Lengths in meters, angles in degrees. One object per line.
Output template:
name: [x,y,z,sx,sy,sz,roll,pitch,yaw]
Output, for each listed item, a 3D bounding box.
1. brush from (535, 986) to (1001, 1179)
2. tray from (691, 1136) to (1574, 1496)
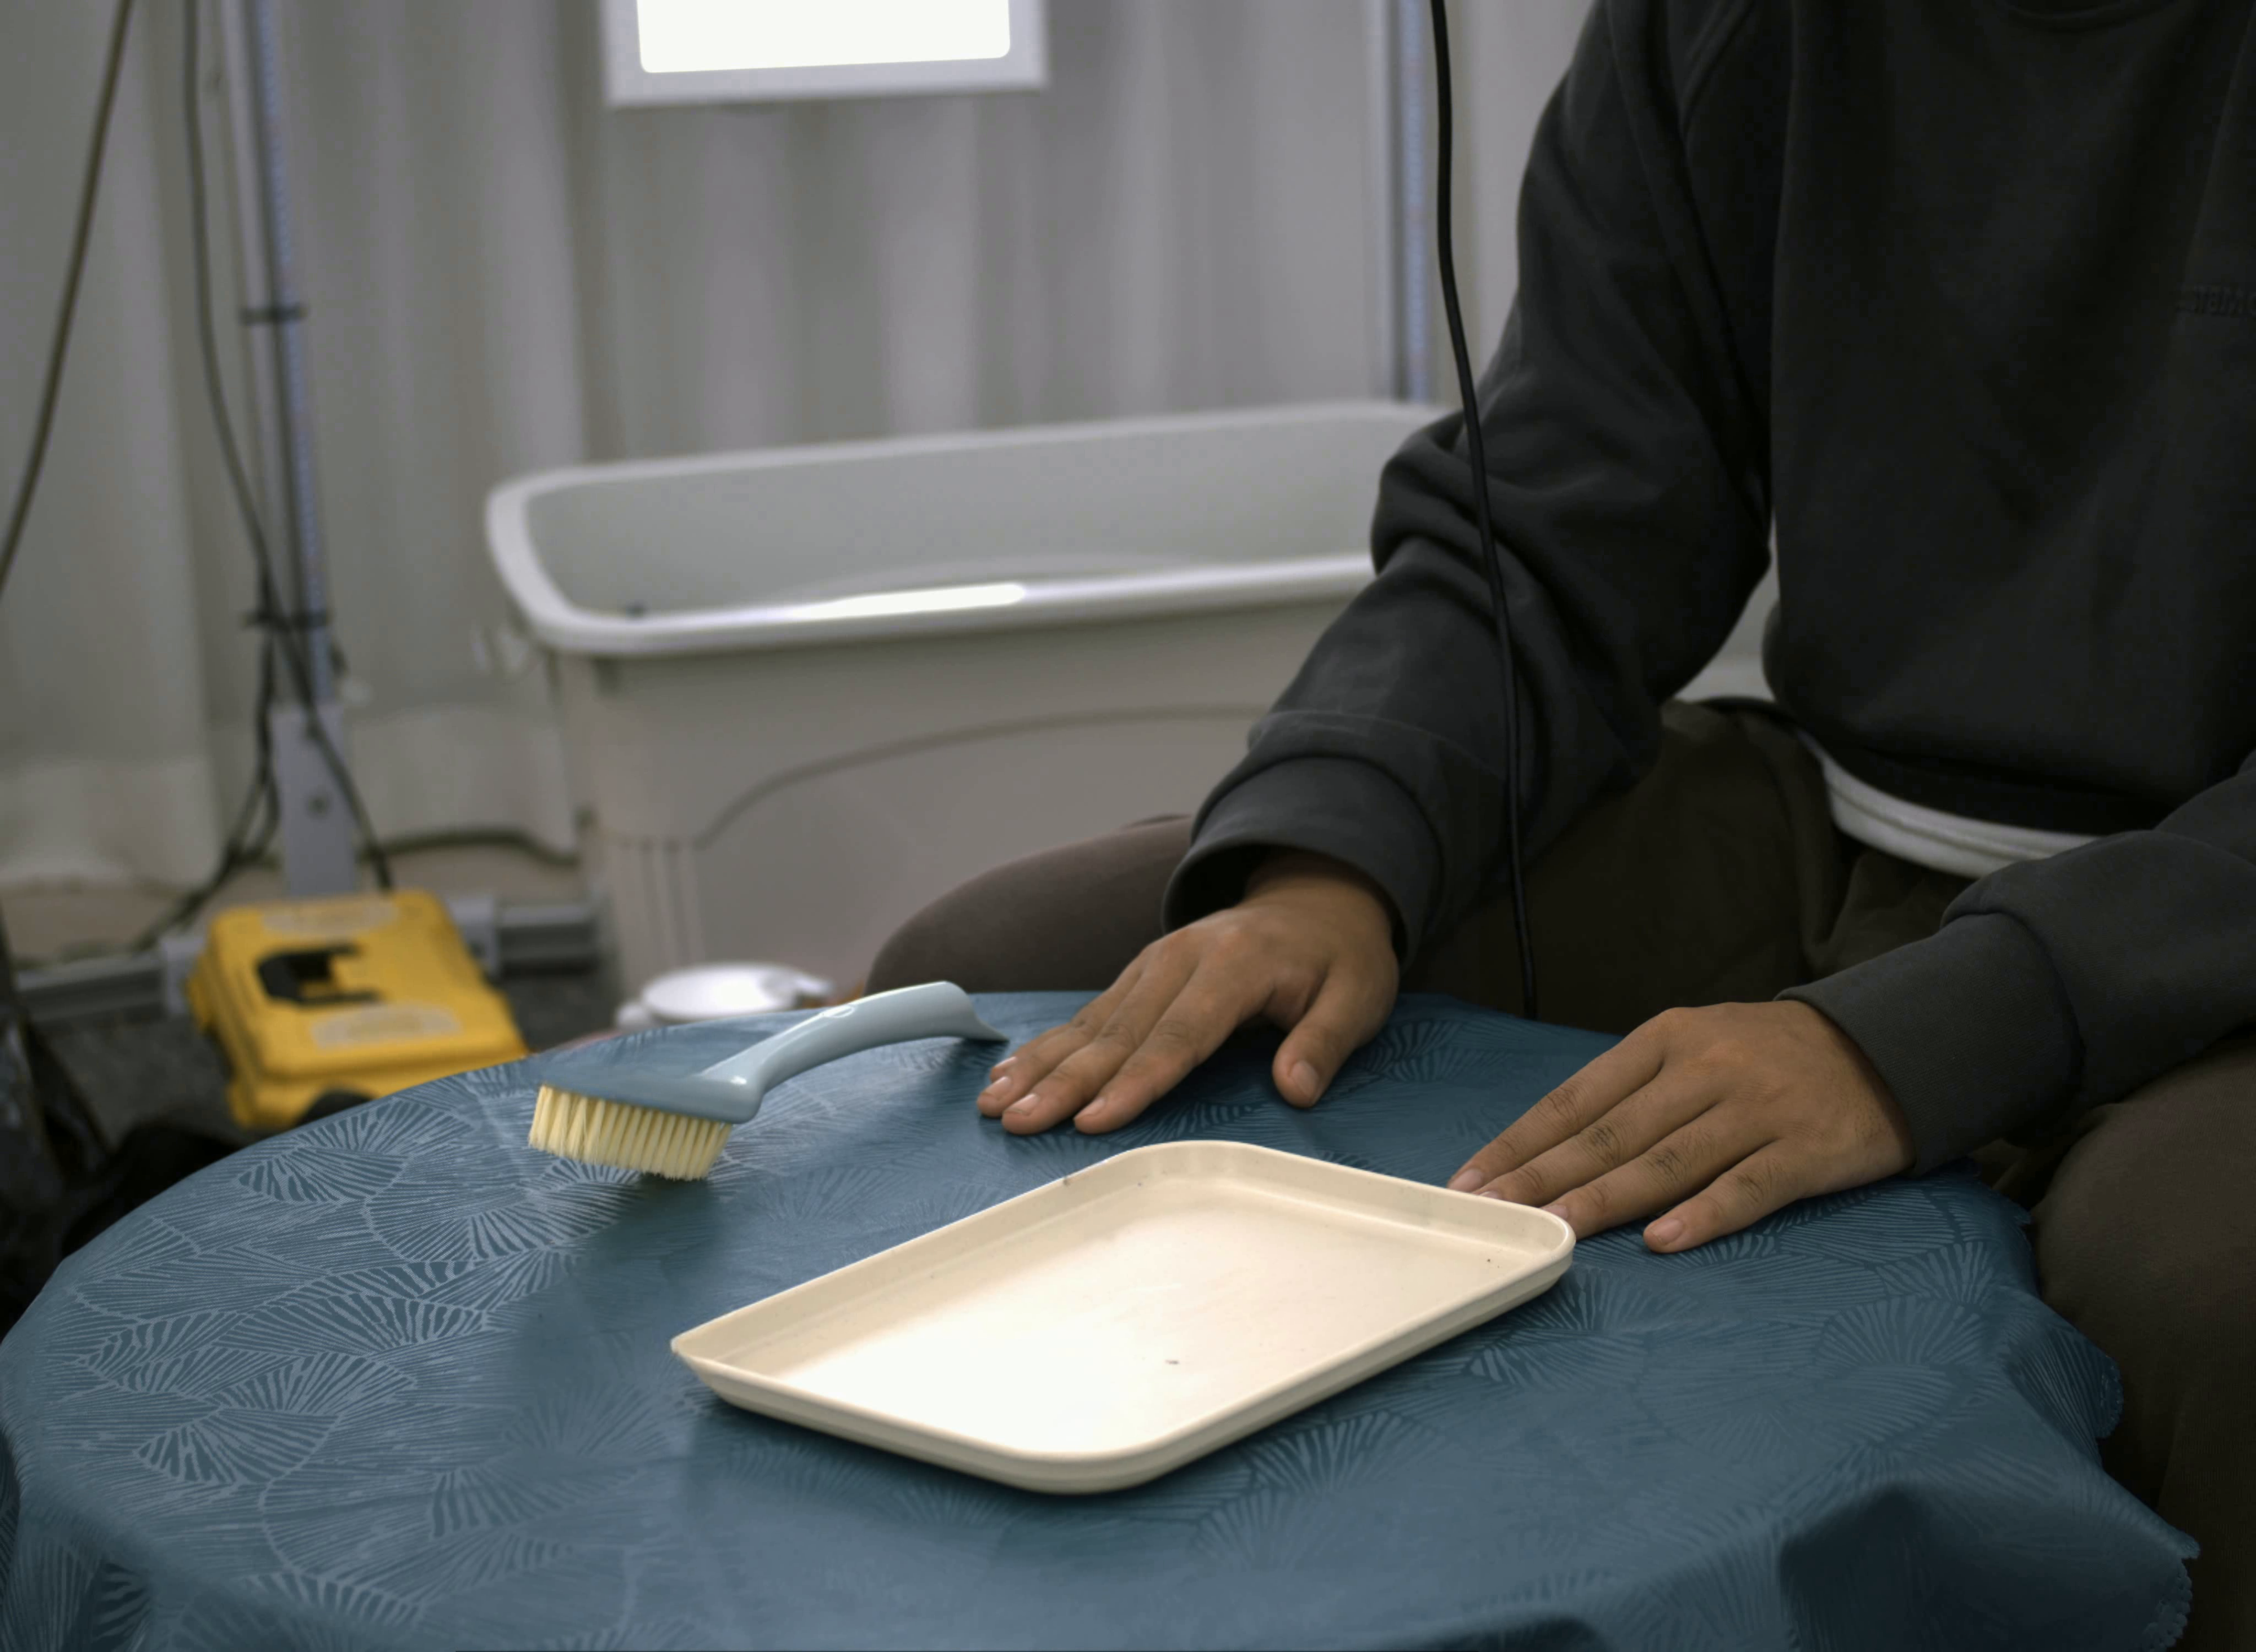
brush: [-0.115,0.084,1.792,0.038,0.049,0.228,14,13,32]
tray: [0.004,0.140,1.585,0.172,0.017,0.239,11,20,40]
